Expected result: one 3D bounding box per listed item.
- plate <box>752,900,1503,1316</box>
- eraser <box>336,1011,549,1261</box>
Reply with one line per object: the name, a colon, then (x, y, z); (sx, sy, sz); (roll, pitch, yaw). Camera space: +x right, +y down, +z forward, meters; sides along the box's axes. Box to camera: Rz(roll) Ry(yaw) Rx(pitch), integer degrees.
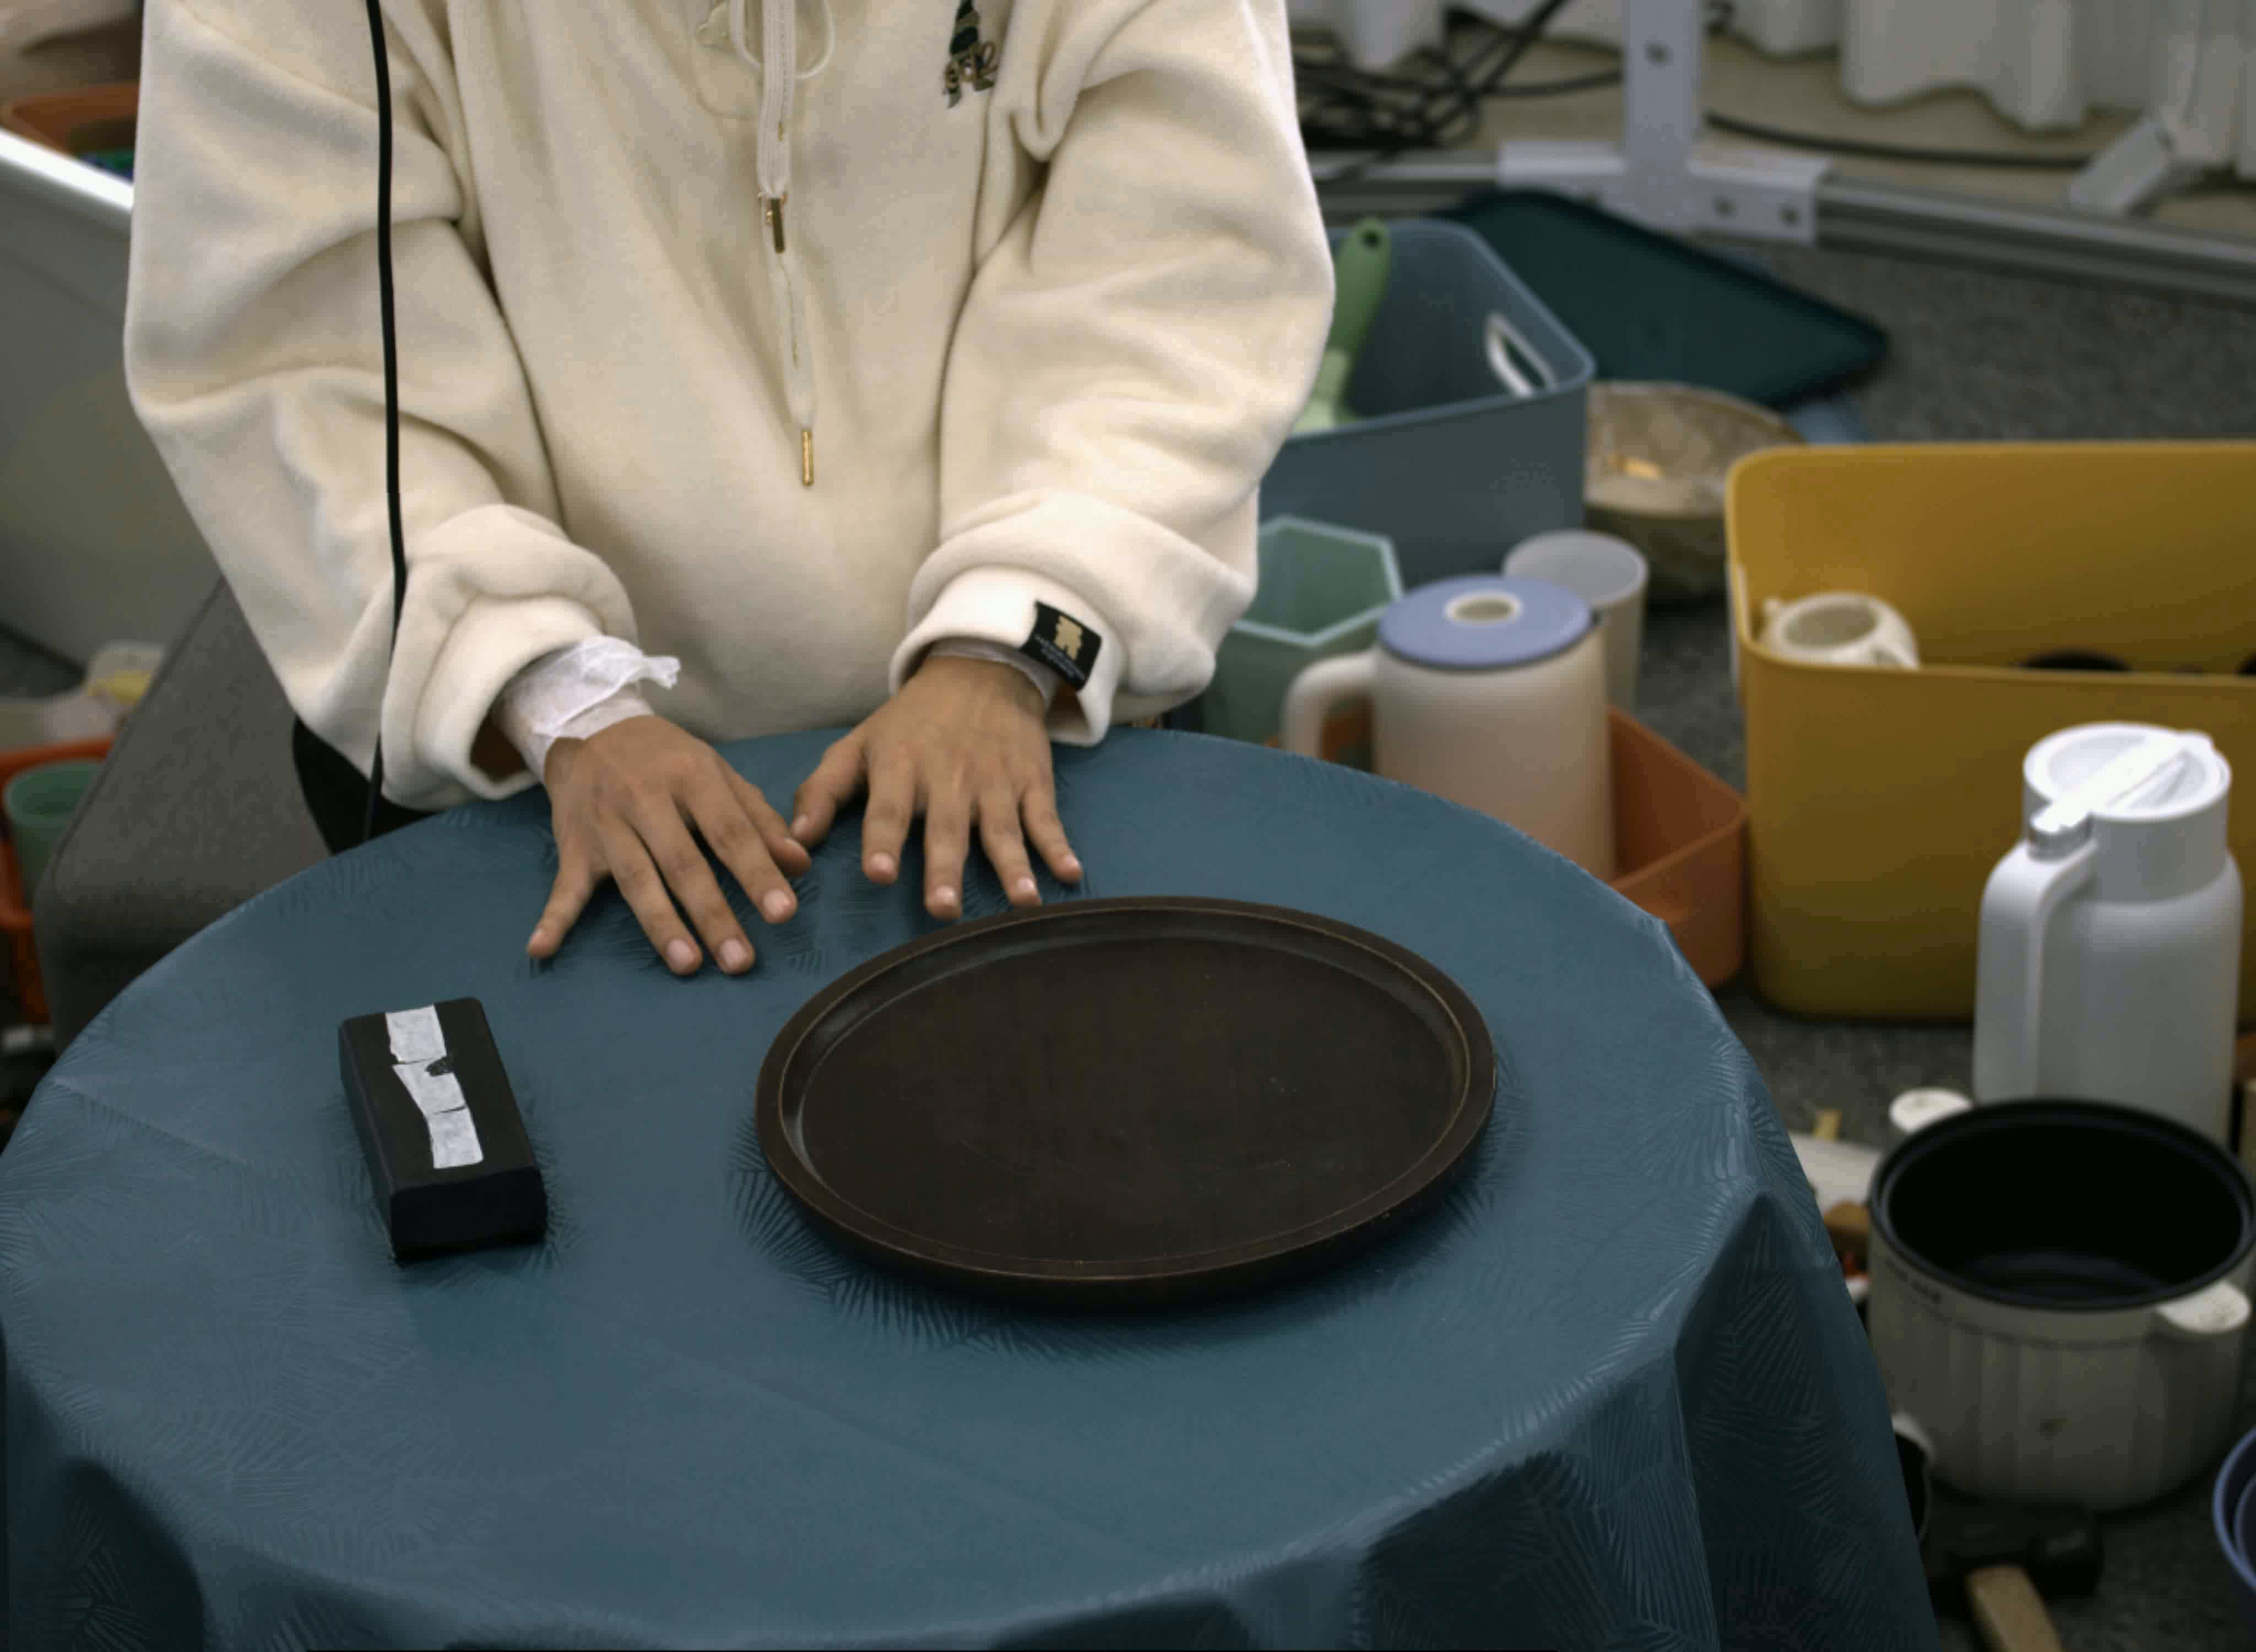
plate: (0.000, 0.092, 1.892); (0.253, 0.029, 0.259); (-2, 29, 2)
eraser: (-0.231, 0.104, 1.890); (0.053, 0.030, 0.127); (-7, 26, -14)
